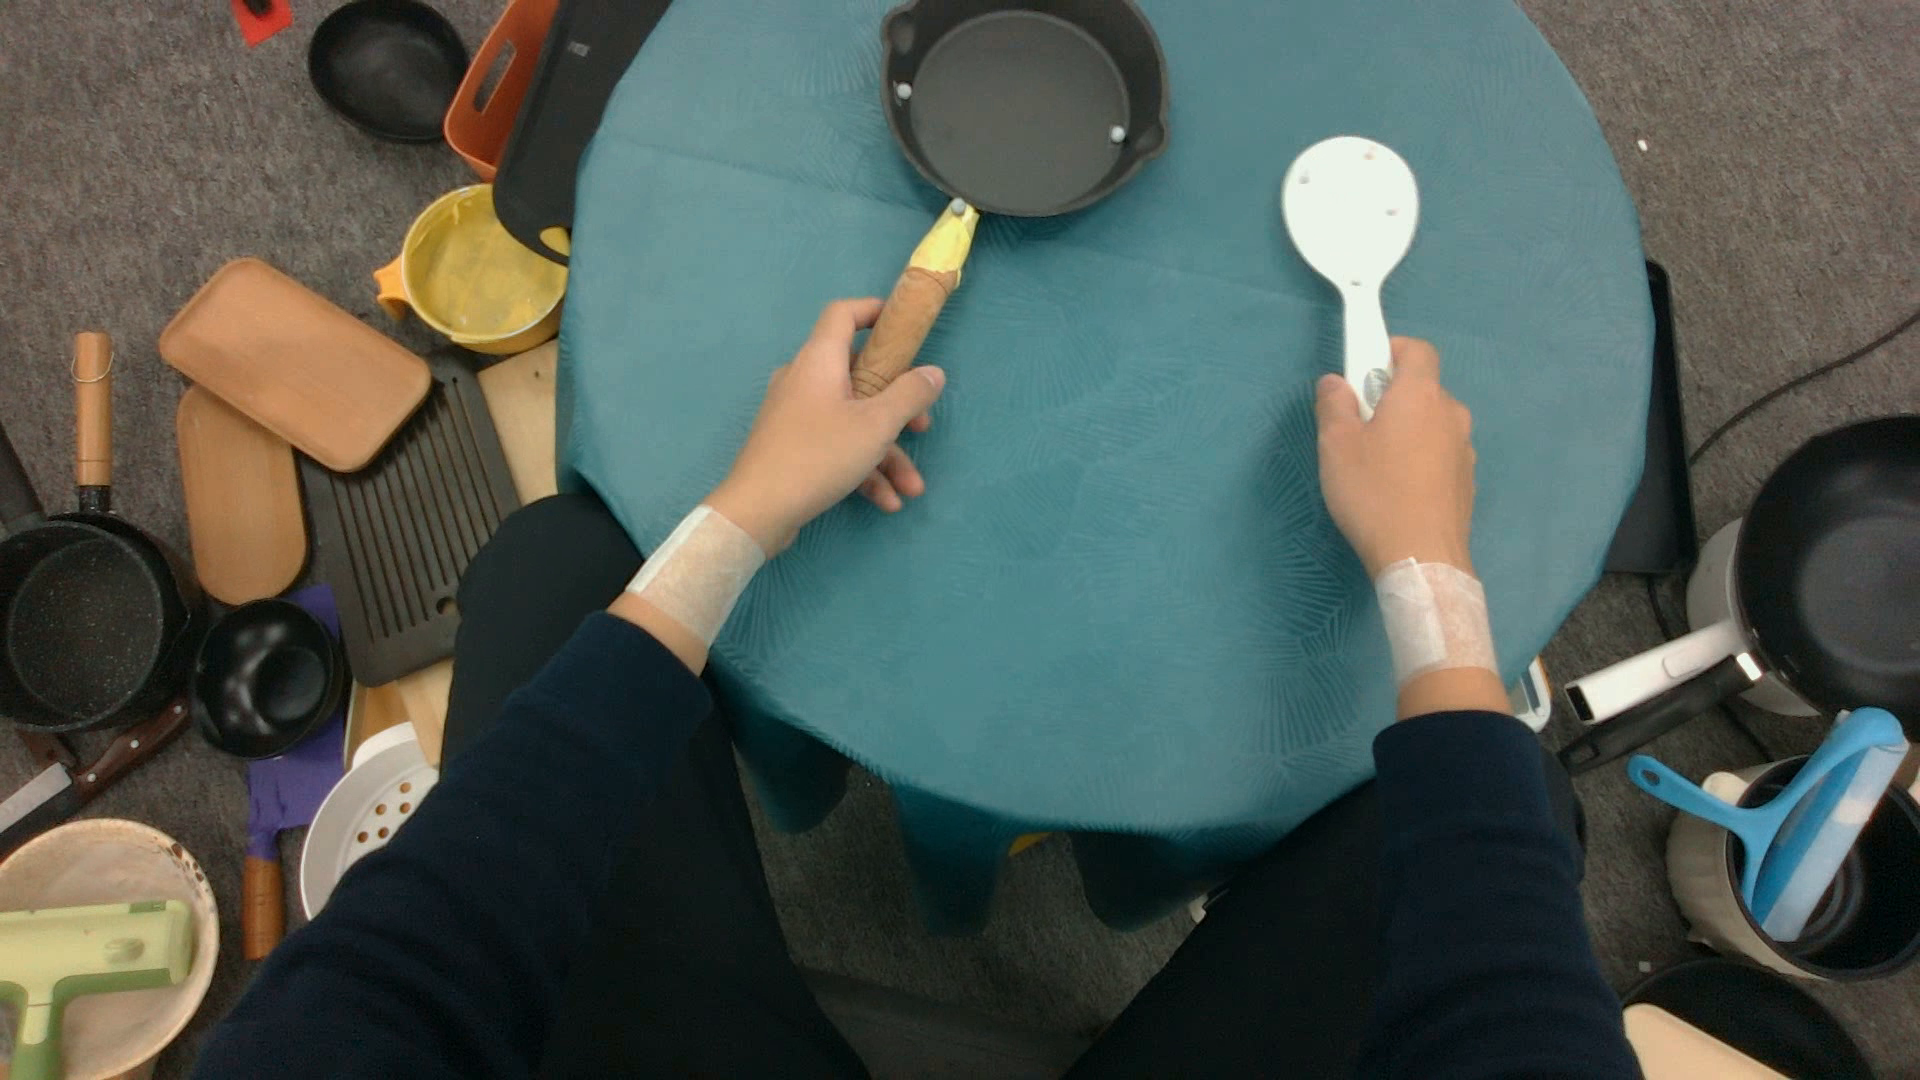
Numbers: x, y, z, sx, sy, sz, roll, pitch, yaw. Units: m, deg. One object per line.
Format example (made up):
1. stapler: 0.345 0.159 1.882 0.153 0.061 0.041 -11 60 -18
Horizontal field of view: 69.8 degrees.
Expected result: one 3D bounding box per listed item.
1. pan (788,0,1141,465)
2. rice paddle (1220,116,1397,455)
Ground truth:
1. pan: -0.016 -0.180 0.733 0.169 0.049 0.325 25 75 2
2. rice paddle: 0.188 -0.144 0.733 0.069 0.029 0.206 -12 69 5
